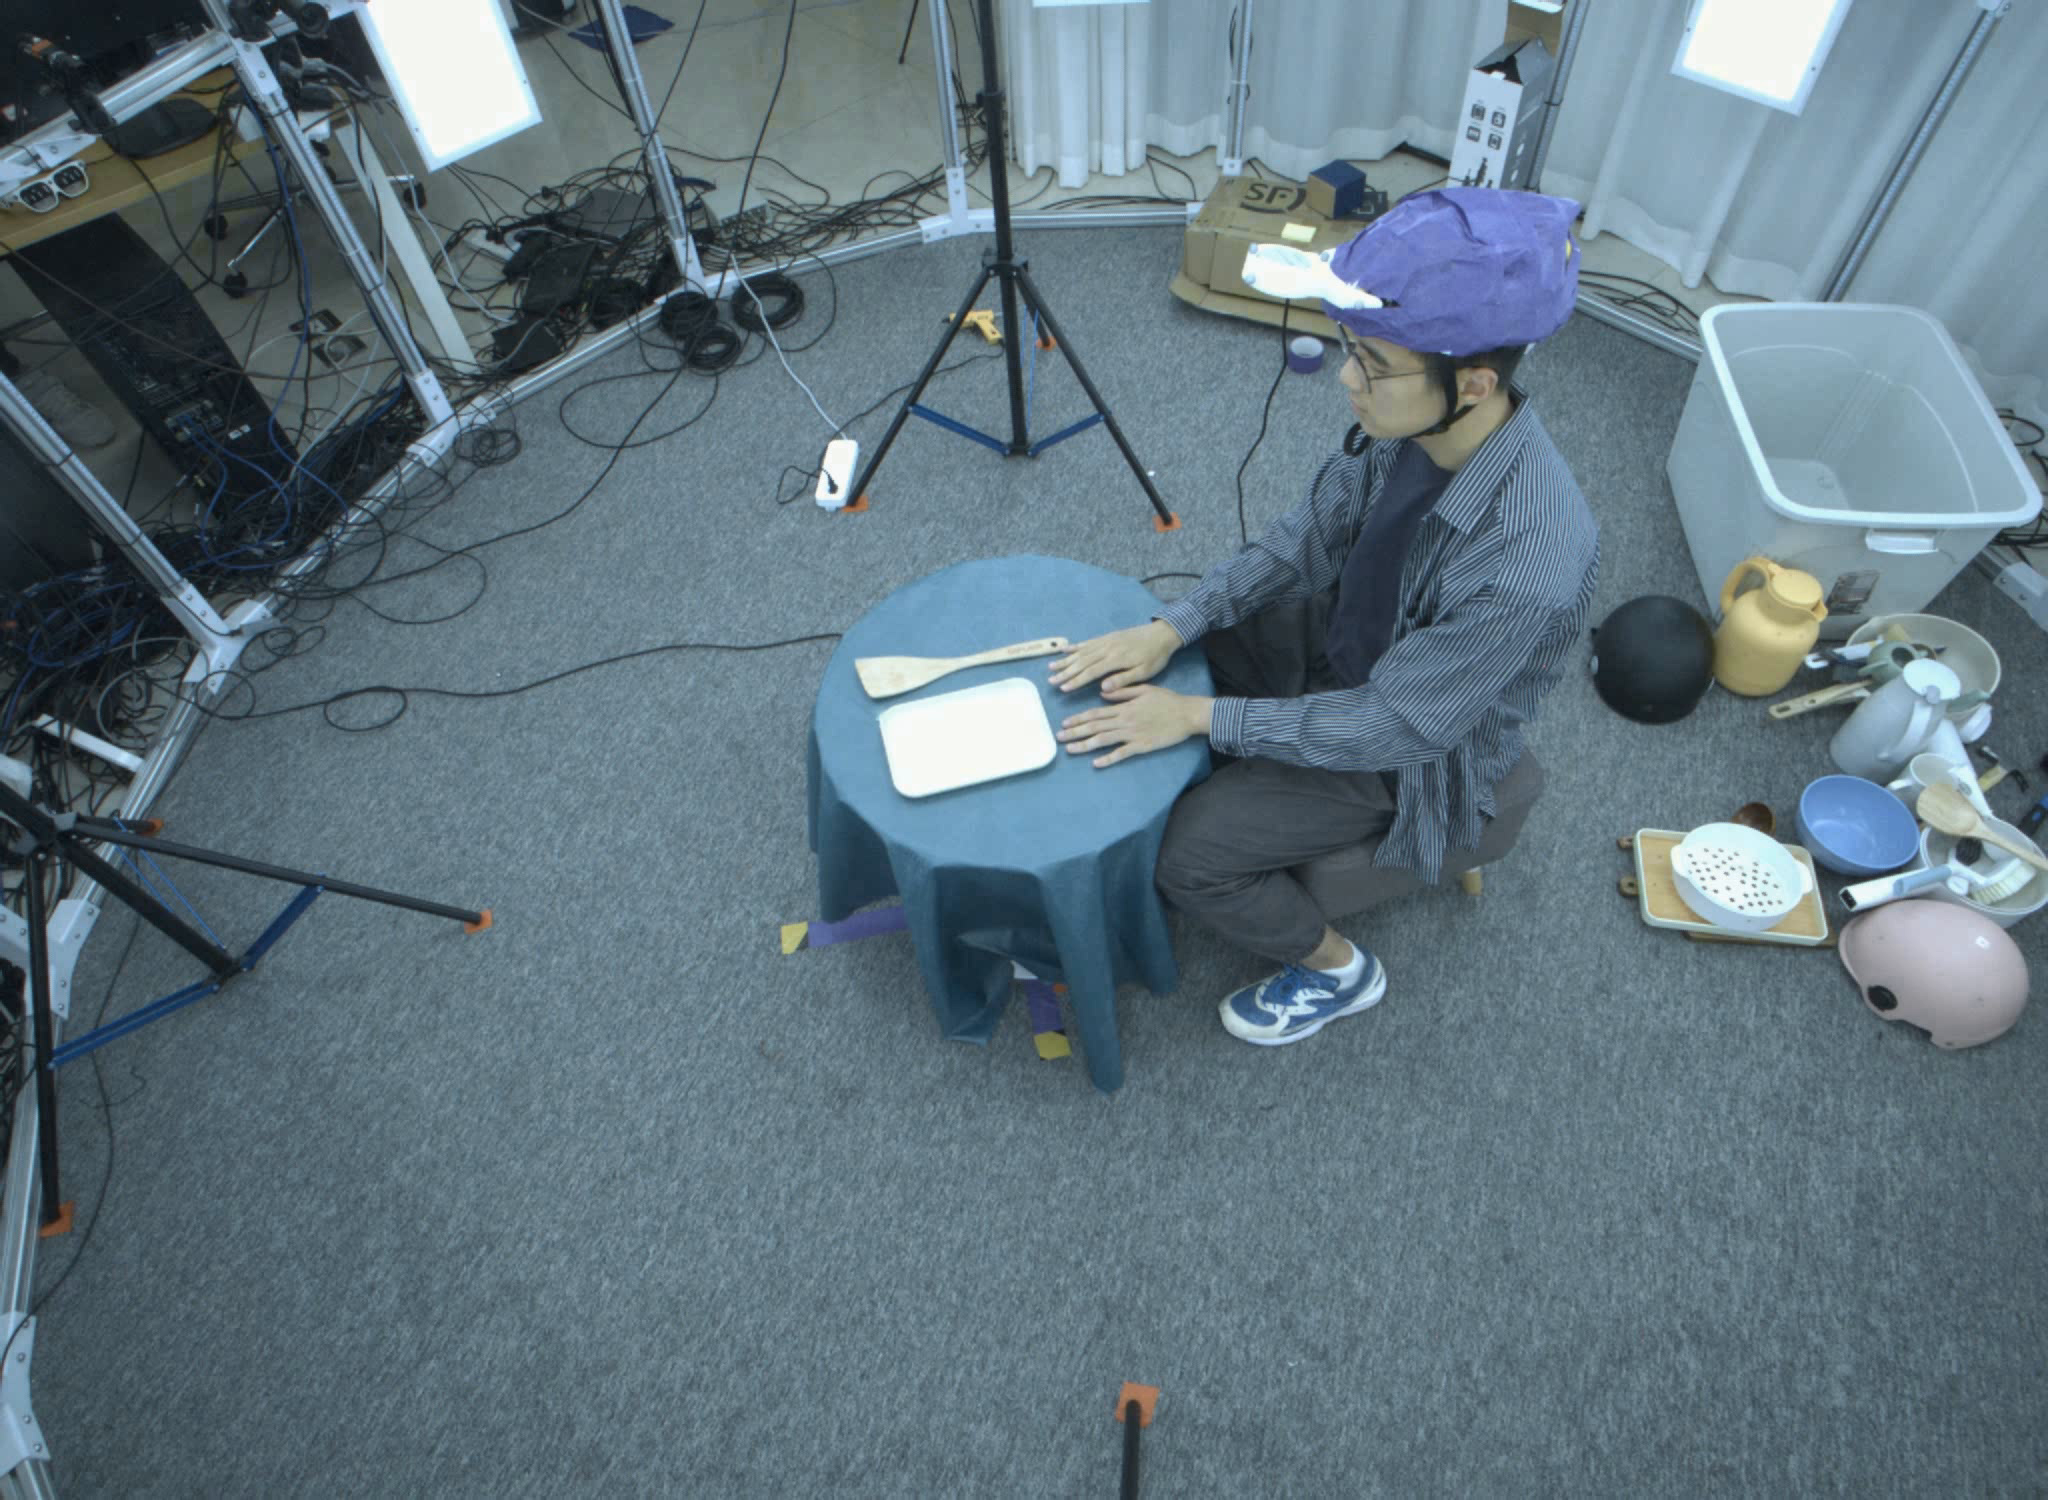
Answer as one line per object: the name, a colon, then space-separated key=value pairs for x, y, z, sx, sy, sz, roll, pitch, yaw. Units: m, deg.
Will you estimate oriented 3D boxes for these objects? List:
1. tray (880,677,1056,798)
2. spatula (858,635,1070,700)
tray: x=-0.083 y=-0.018 z=1.797 sx=0.241 sy=0.017 sz=0.168 roll=-13 pitch=56 yaw=-8
spatula: x=-0.088 y=-0.136 z=1.881 sx=0.329 sy=0.017 sz=0.078 roll=-13 pitch=56 yaw=-7
